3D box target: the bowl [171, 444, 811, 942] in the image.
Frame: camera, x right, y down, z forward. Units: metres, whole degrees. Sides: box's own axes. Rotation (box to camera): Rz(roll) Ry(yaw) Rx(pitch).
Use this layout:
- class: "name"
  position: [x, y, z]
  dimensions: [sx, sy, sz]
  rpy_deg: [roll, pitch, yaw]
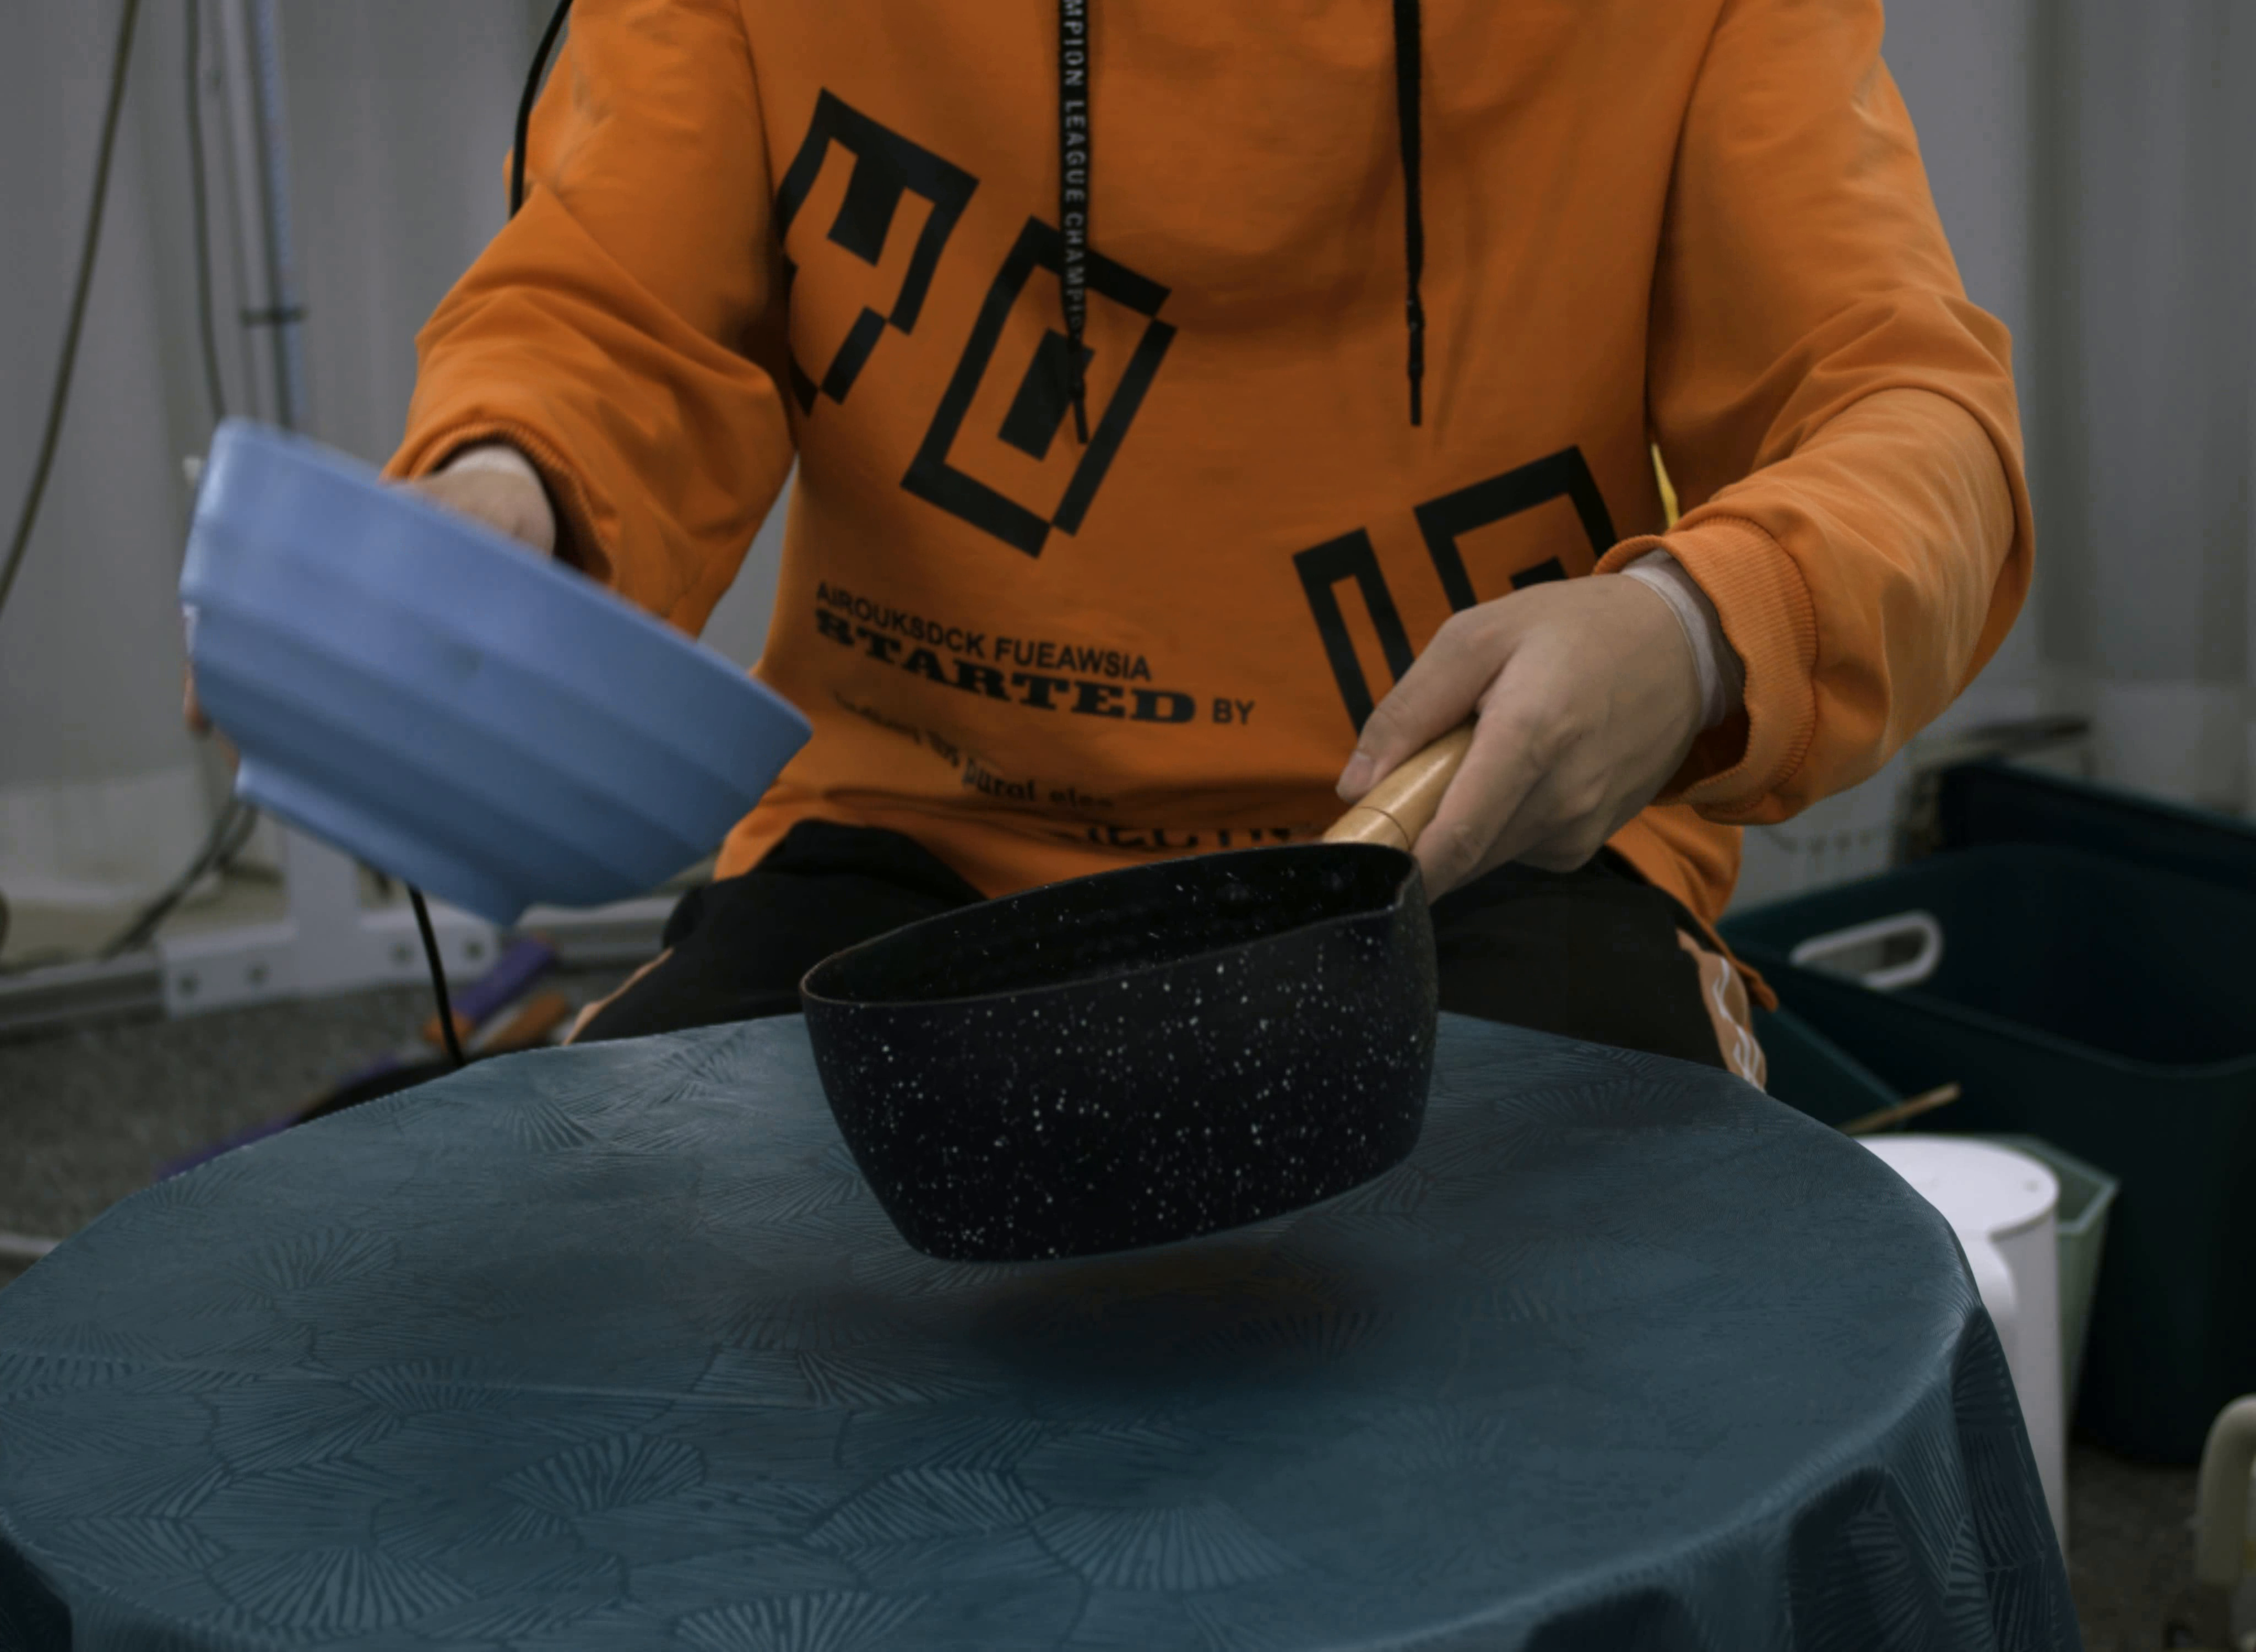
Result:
- class: "bowl"
  position: [-0.200, -0.027, 1.606]
  dimensions: [0.196, 0.096, 0.196]
  rpy_deg: [24, -5, 2]

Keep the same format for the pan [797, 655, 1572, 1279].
- class: "pan"
  position: [0.045, 0.039, 1.650]
  dimensions: [0.207, 0.108, 0.343]
  rpy_deg: [-6, 11, 36]
